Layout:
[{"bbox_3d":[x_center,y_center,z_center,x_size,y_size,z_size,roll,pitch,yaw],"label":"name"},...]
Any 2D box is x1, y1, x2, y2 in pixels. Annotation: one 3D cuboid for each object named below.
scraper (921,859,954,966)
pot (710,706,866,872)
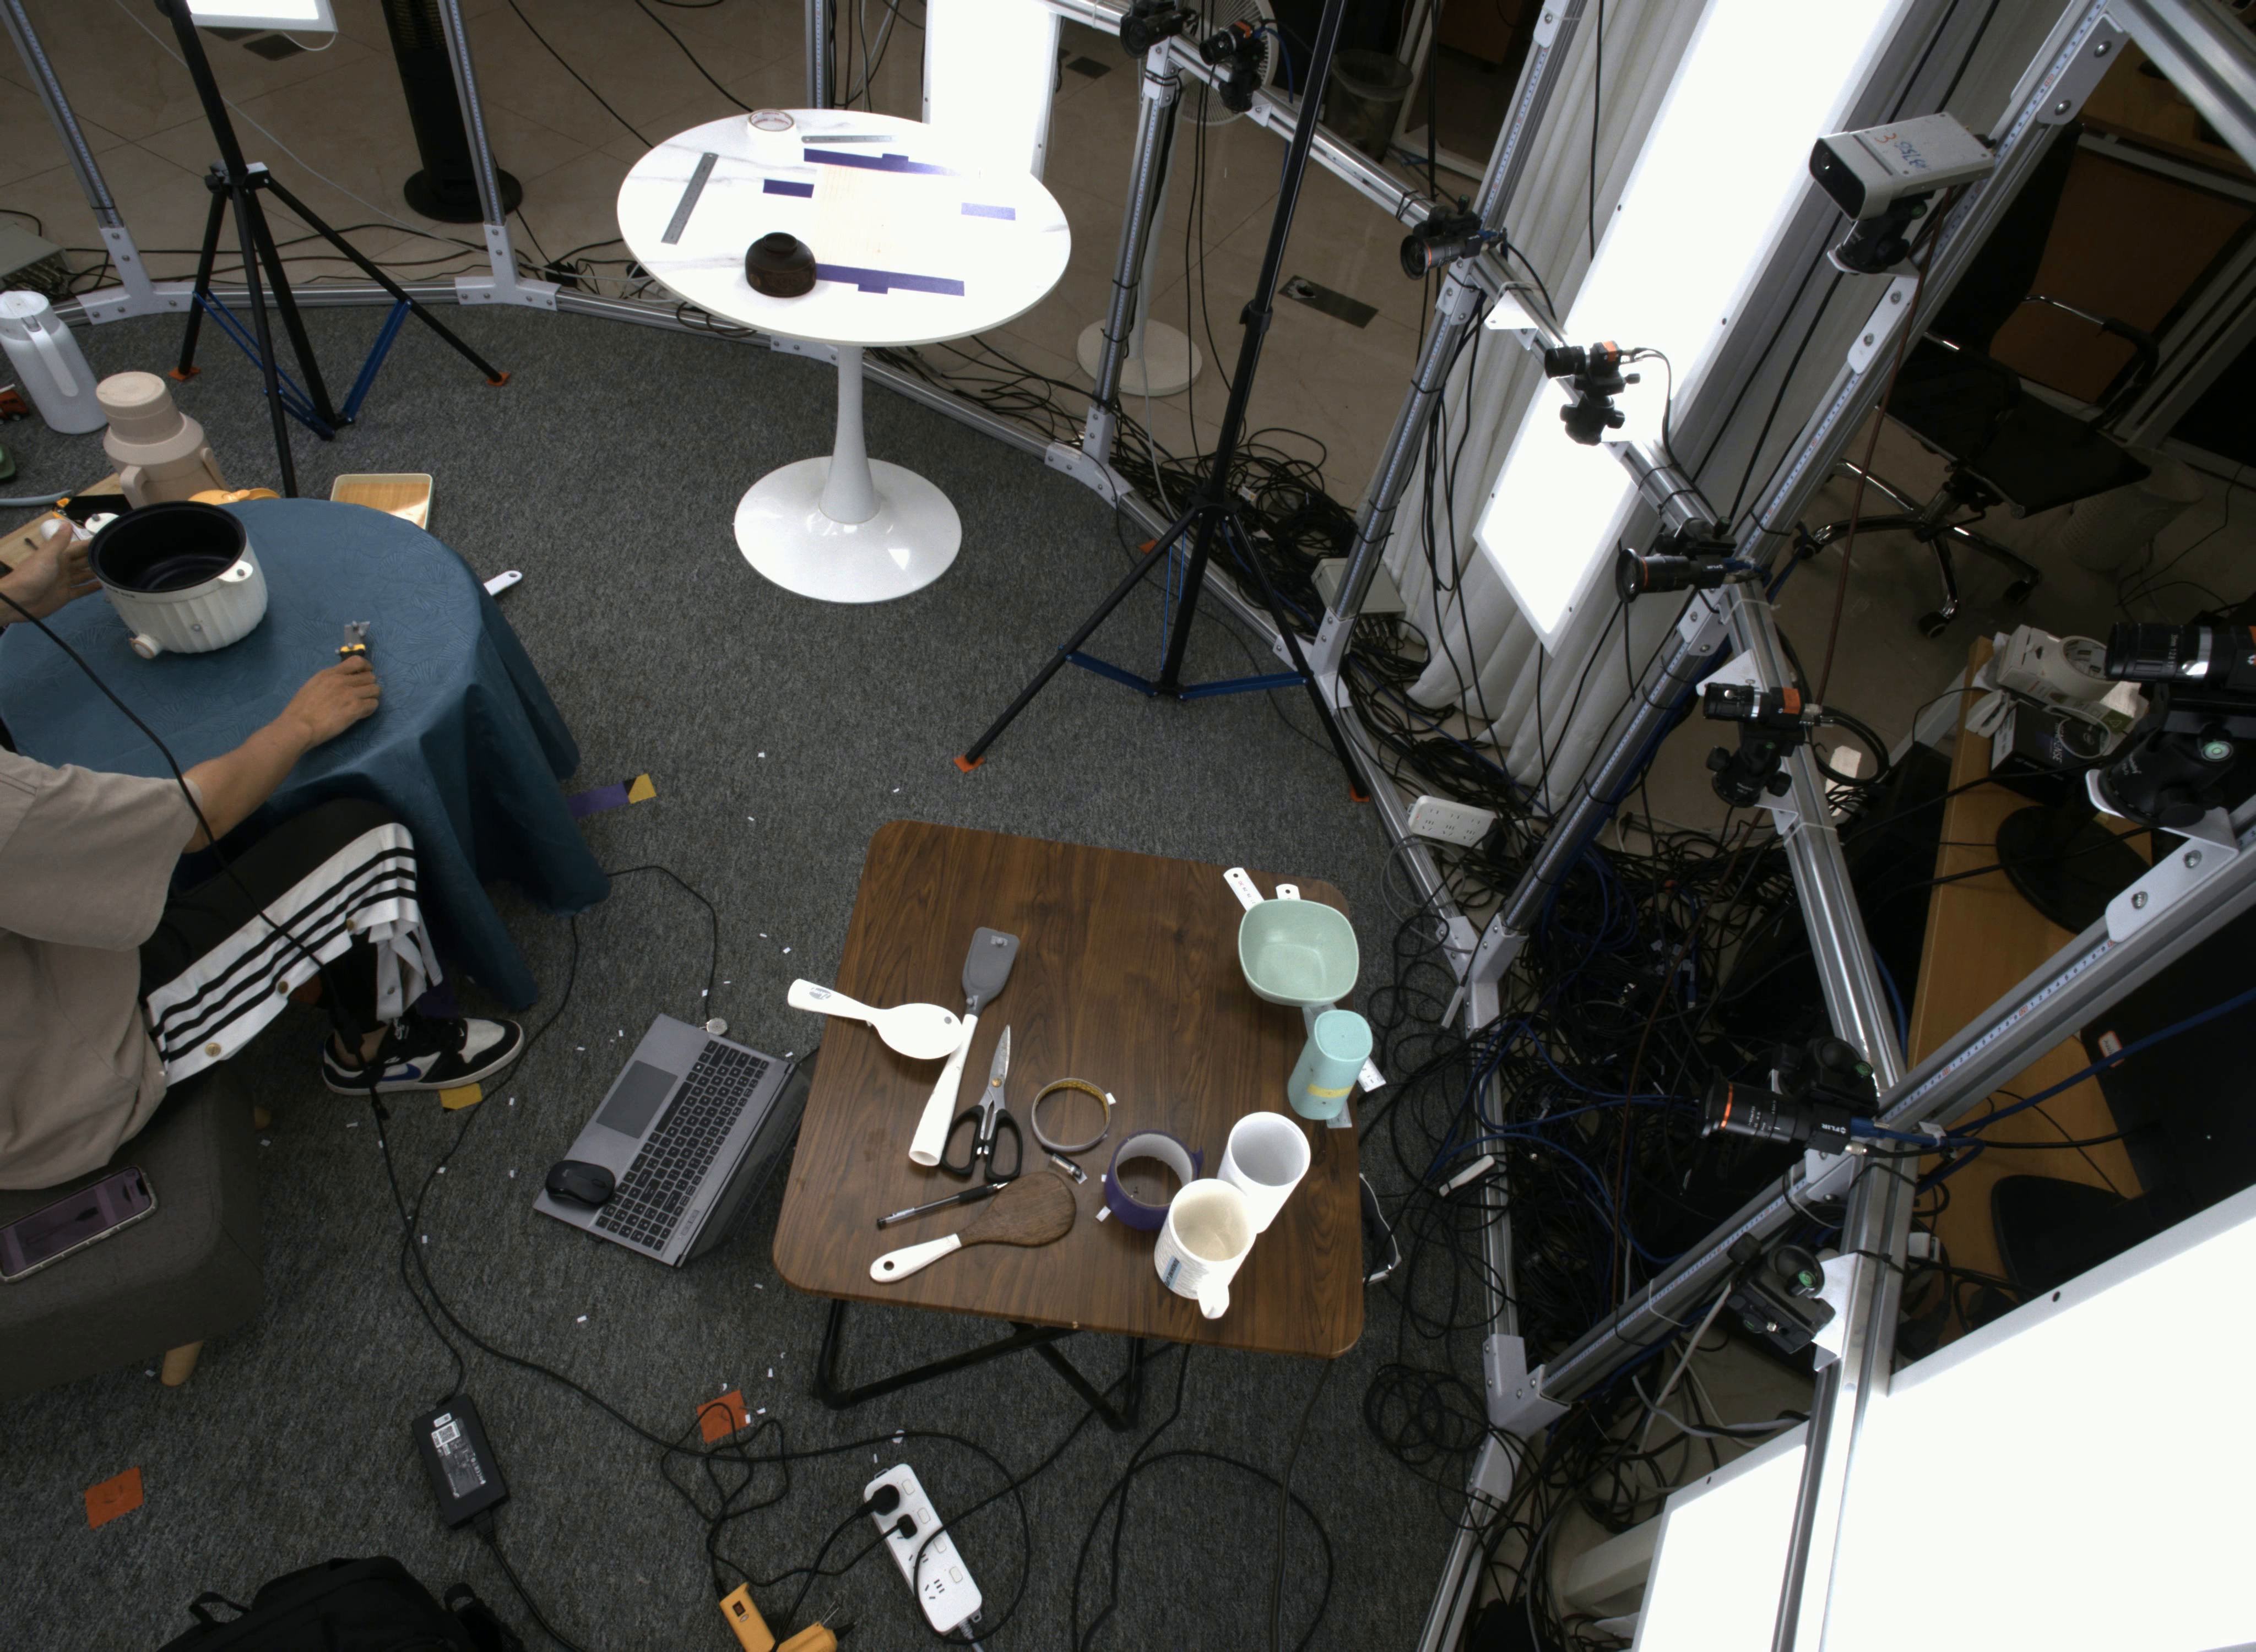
[{"bbox_3d":[-0.245,0.107,1.665,0.038,0.015,0.167,2,49,-6],"label":"scraper"},{"bbox_3d":[-0.440,-0.038,1.671,0.236,0.146,0.190,30,49,12],"label":"pot"}]
